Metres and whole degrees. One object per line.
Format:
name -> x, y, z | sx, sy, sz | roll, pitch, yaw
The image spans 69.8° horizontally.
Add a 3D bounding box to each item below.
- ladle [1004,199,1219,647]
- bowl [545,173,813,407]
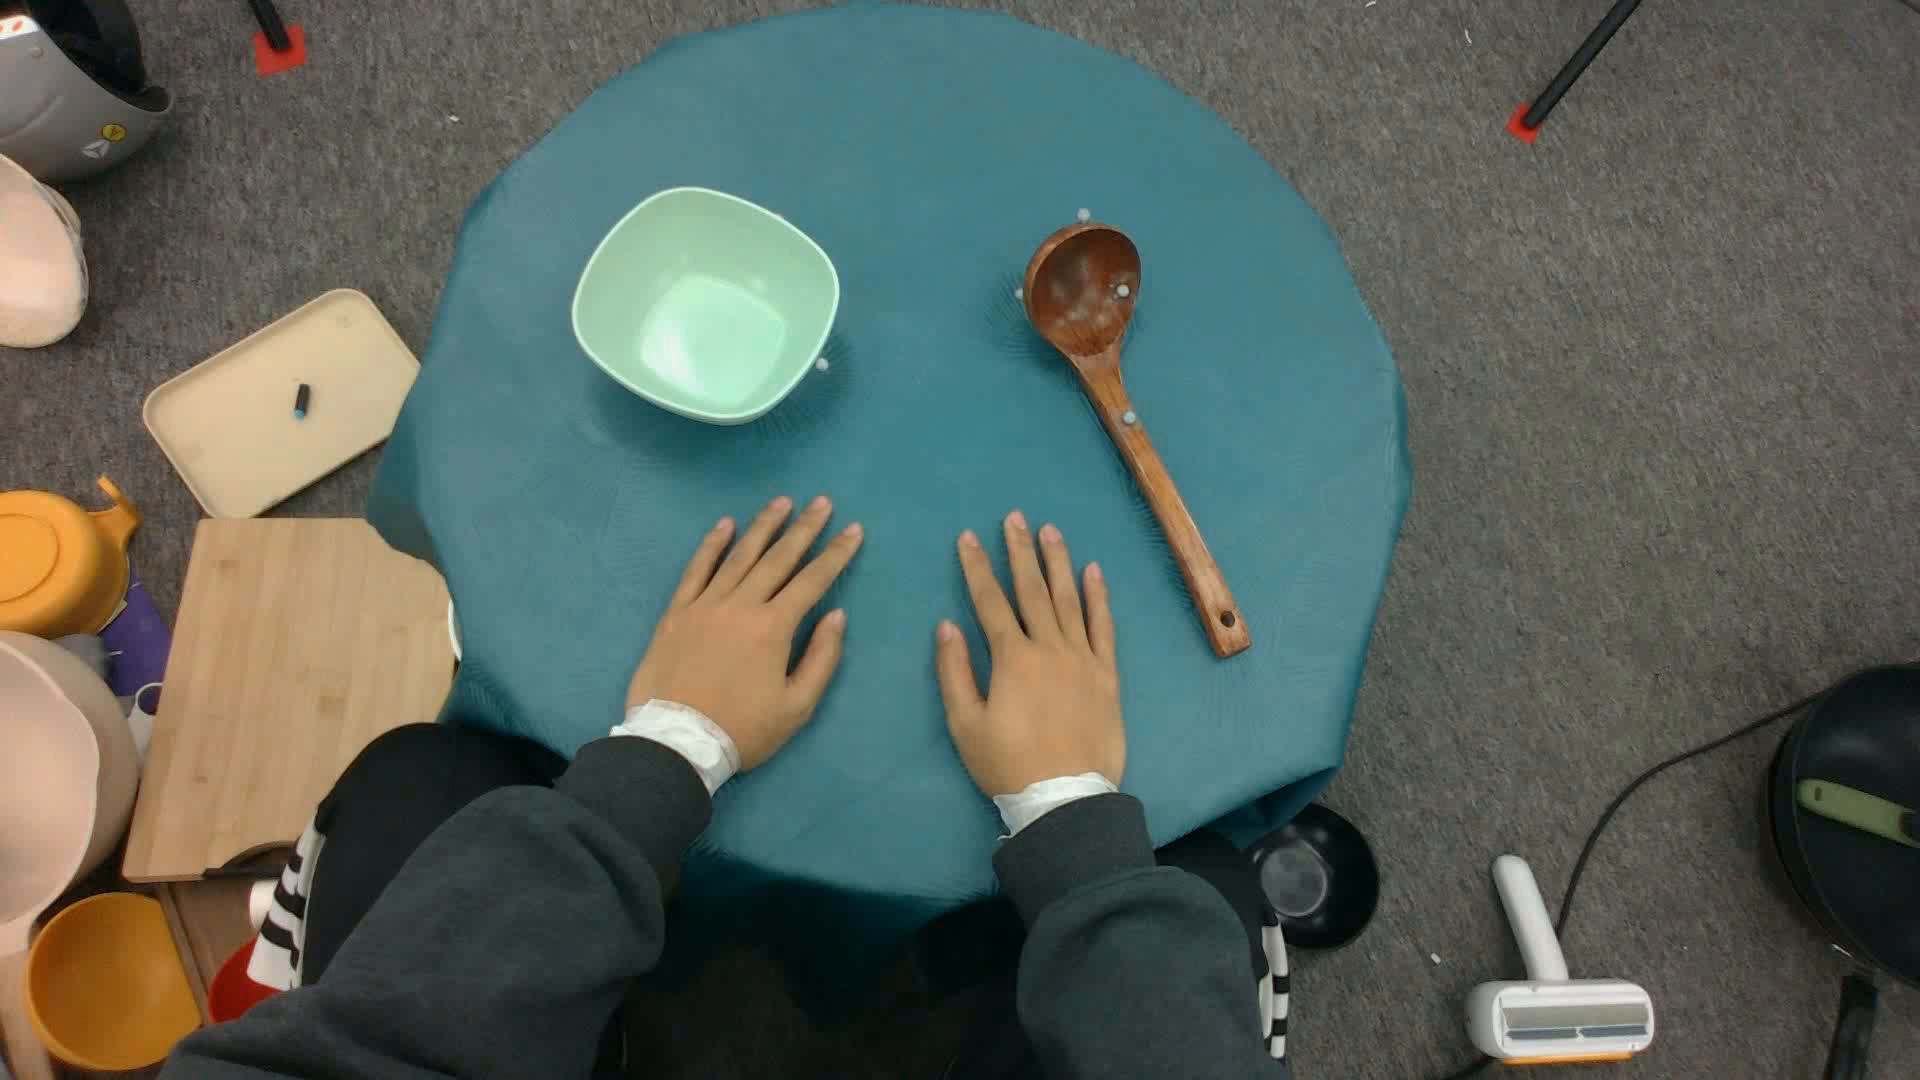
ladle -> 0.103, -0.074, 0.812 | 0.082, 0.076, 0.274 | -17, 73, -19
bowl -> -0.162, -0.135, 0.803 | 0.151, 0.058, 0.152 | 4, 67, -9
